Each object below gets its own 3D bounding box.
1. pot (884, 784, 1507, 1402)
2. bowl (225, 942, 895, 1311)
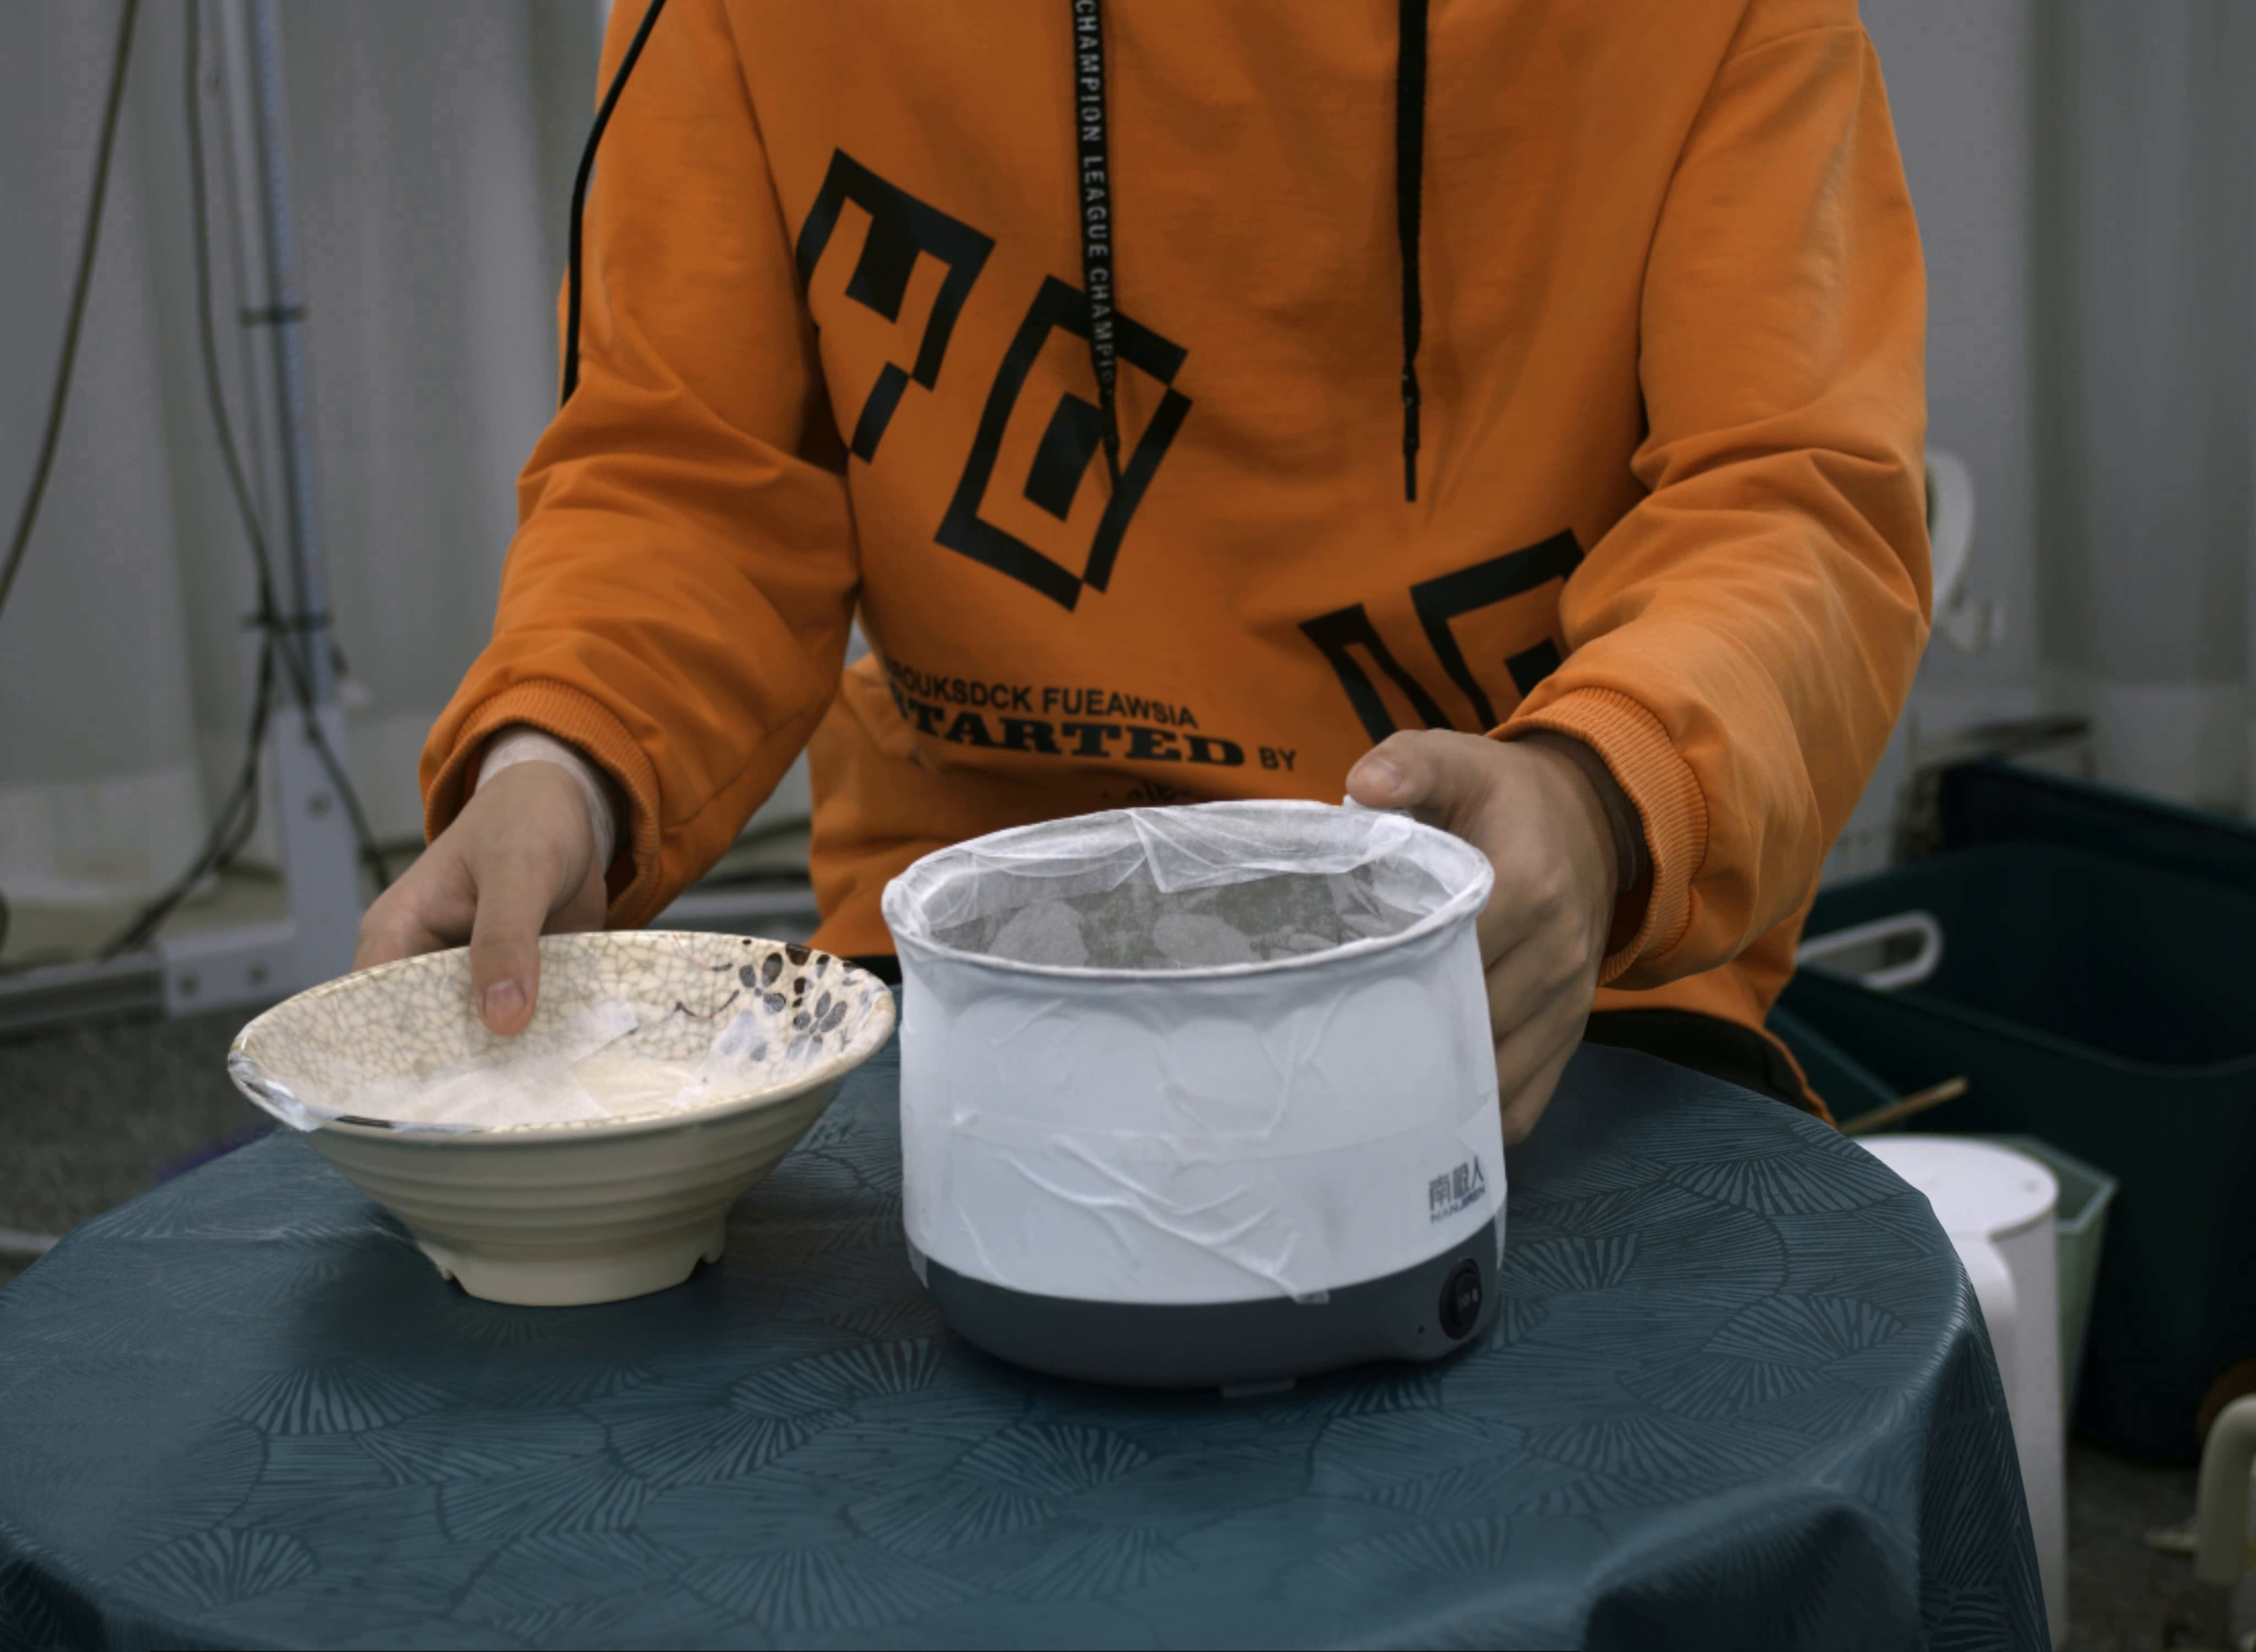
[{"bbox_3d":[0.036,0.071,1.609,0.179,0.136,0.234,7,18,32],"label":"pot"},{"bbox_3d":[-0.170,0.098,1.669,0.203,0.078,0.205,-3,13,0],"label":"bowl"}]
